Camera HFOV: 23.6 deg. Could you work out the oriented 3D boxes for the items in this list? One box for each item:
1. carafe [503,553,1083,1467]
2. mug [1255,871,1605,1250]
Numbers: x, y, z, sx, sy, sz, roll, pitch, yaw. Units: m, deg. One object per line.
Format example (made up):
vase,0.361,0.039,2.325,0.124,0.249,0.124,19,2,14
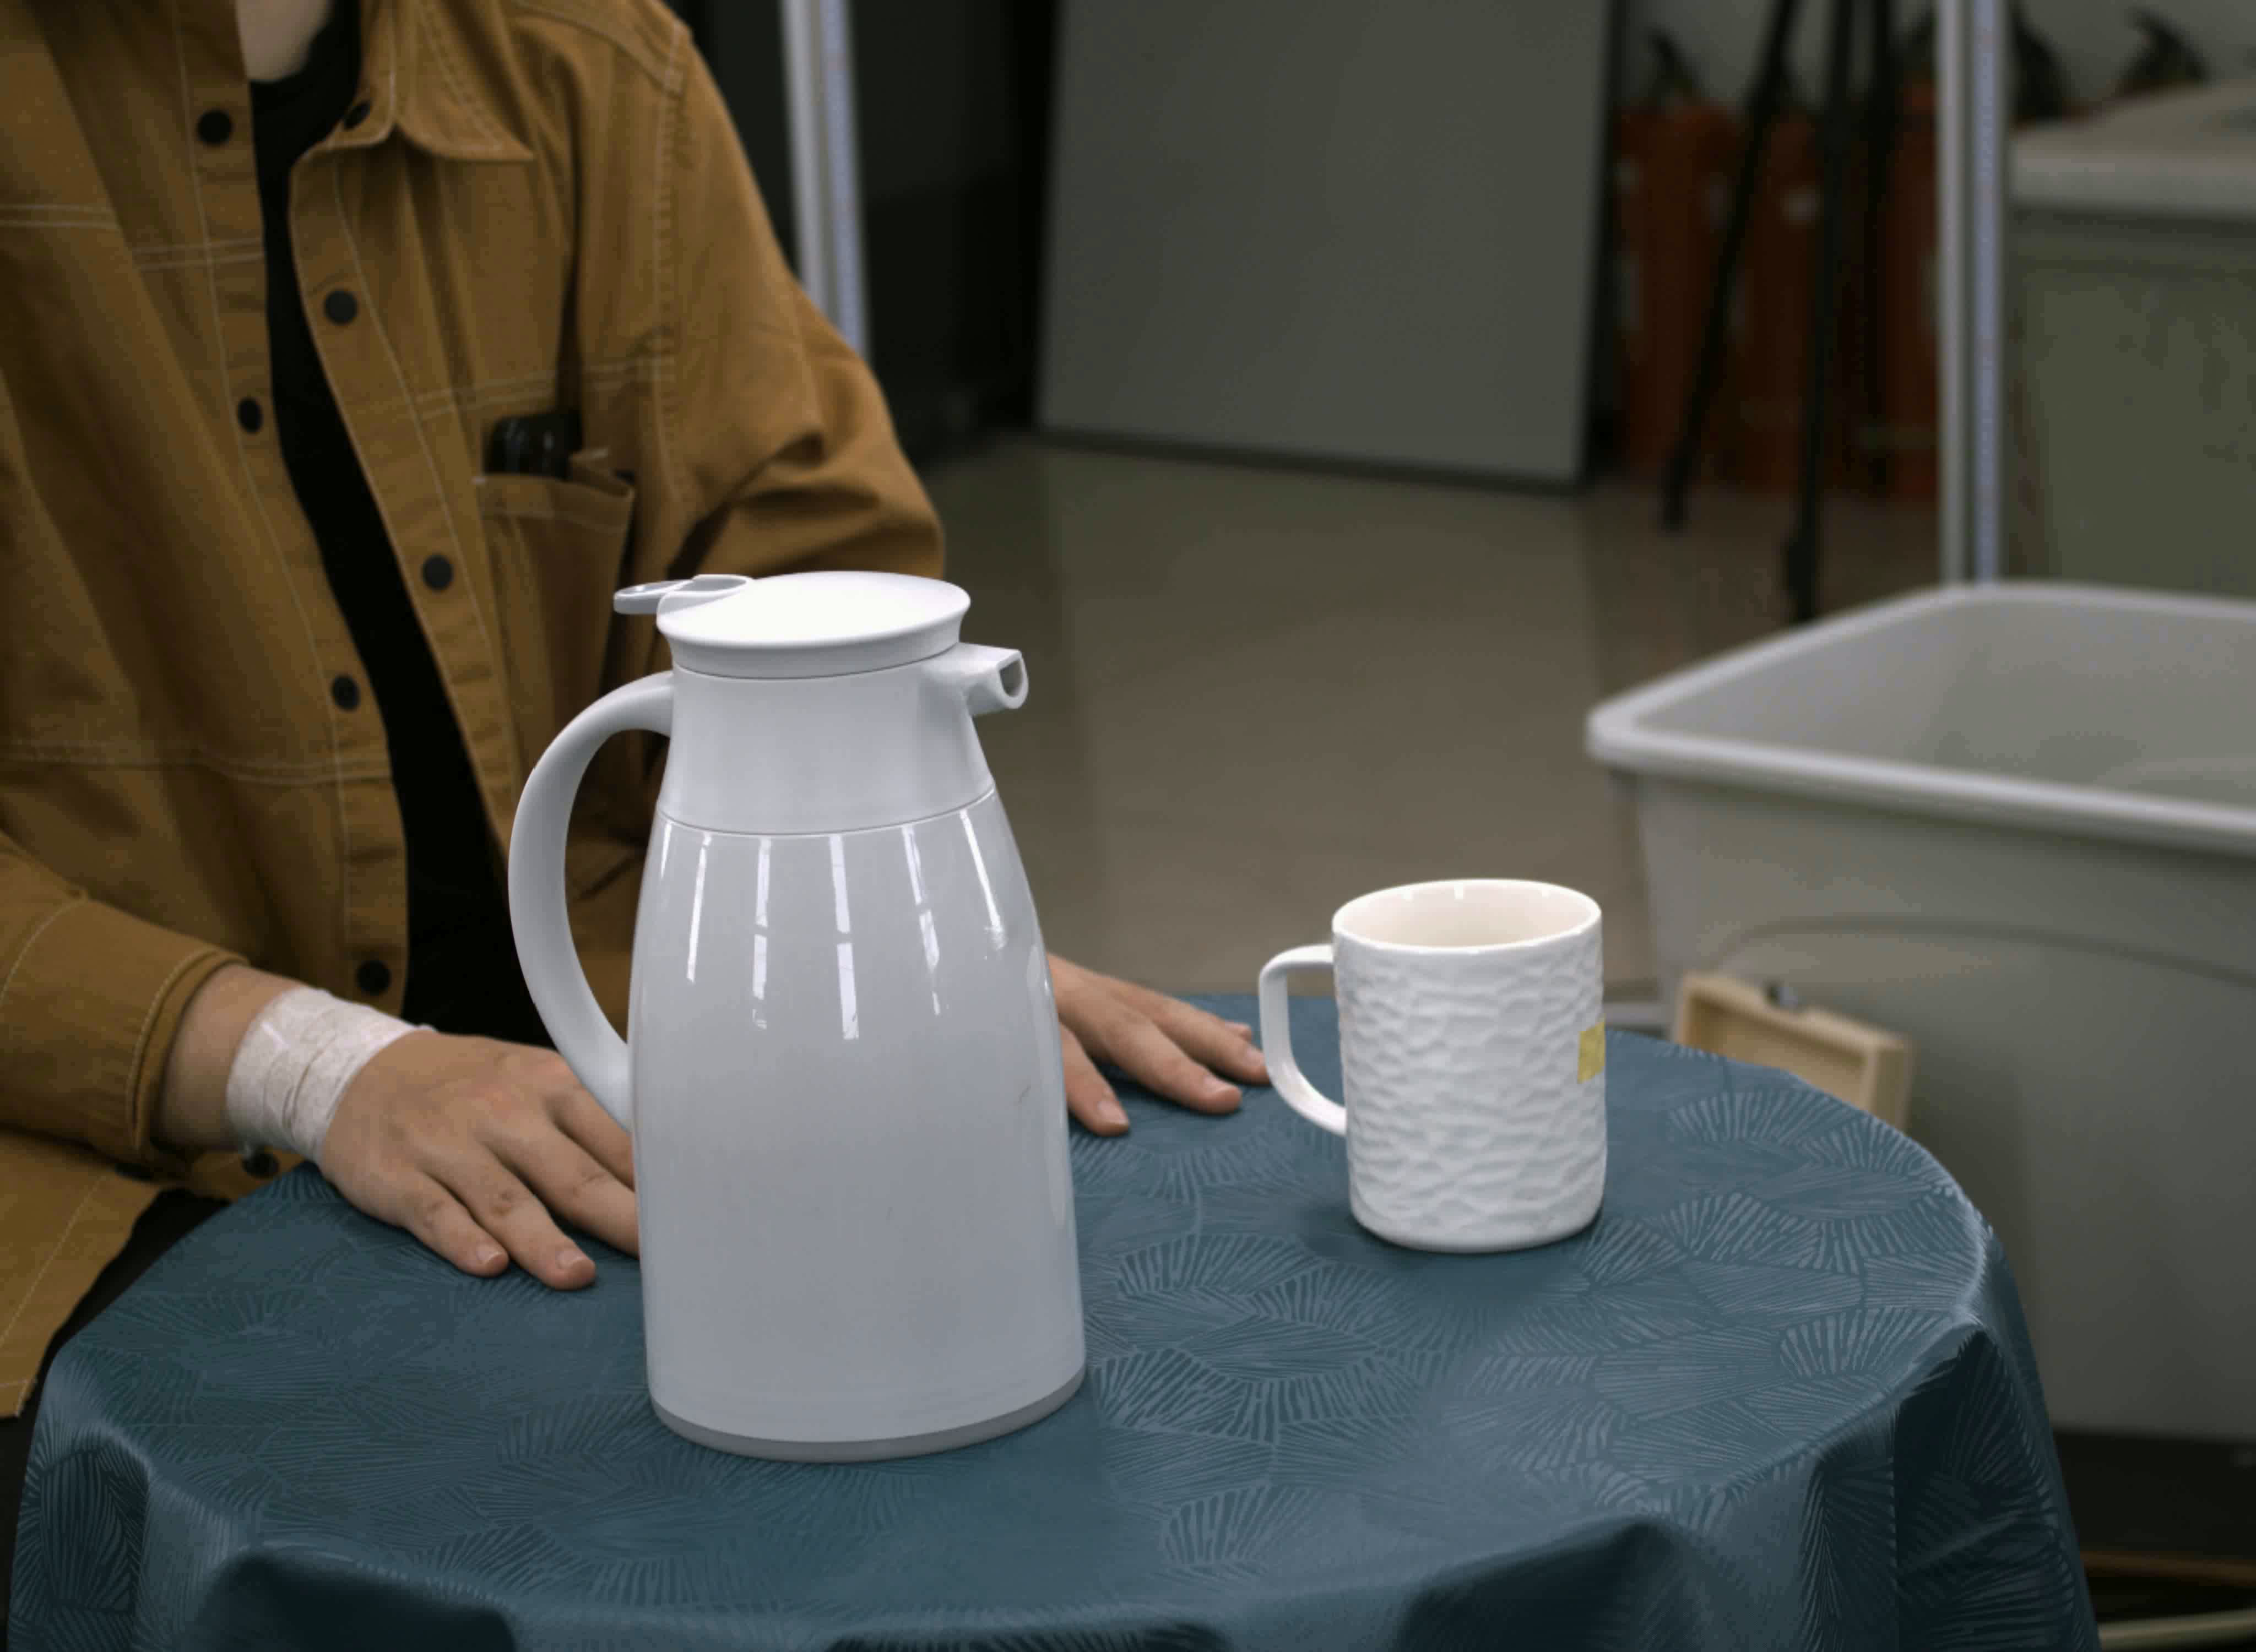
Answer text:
carafe,-0.103,0.047,1.587,0.167,0.251,0.131,1,15,21
mug,0.095,0.074,1.720,0.118,0.103,0.083,3,15,29
